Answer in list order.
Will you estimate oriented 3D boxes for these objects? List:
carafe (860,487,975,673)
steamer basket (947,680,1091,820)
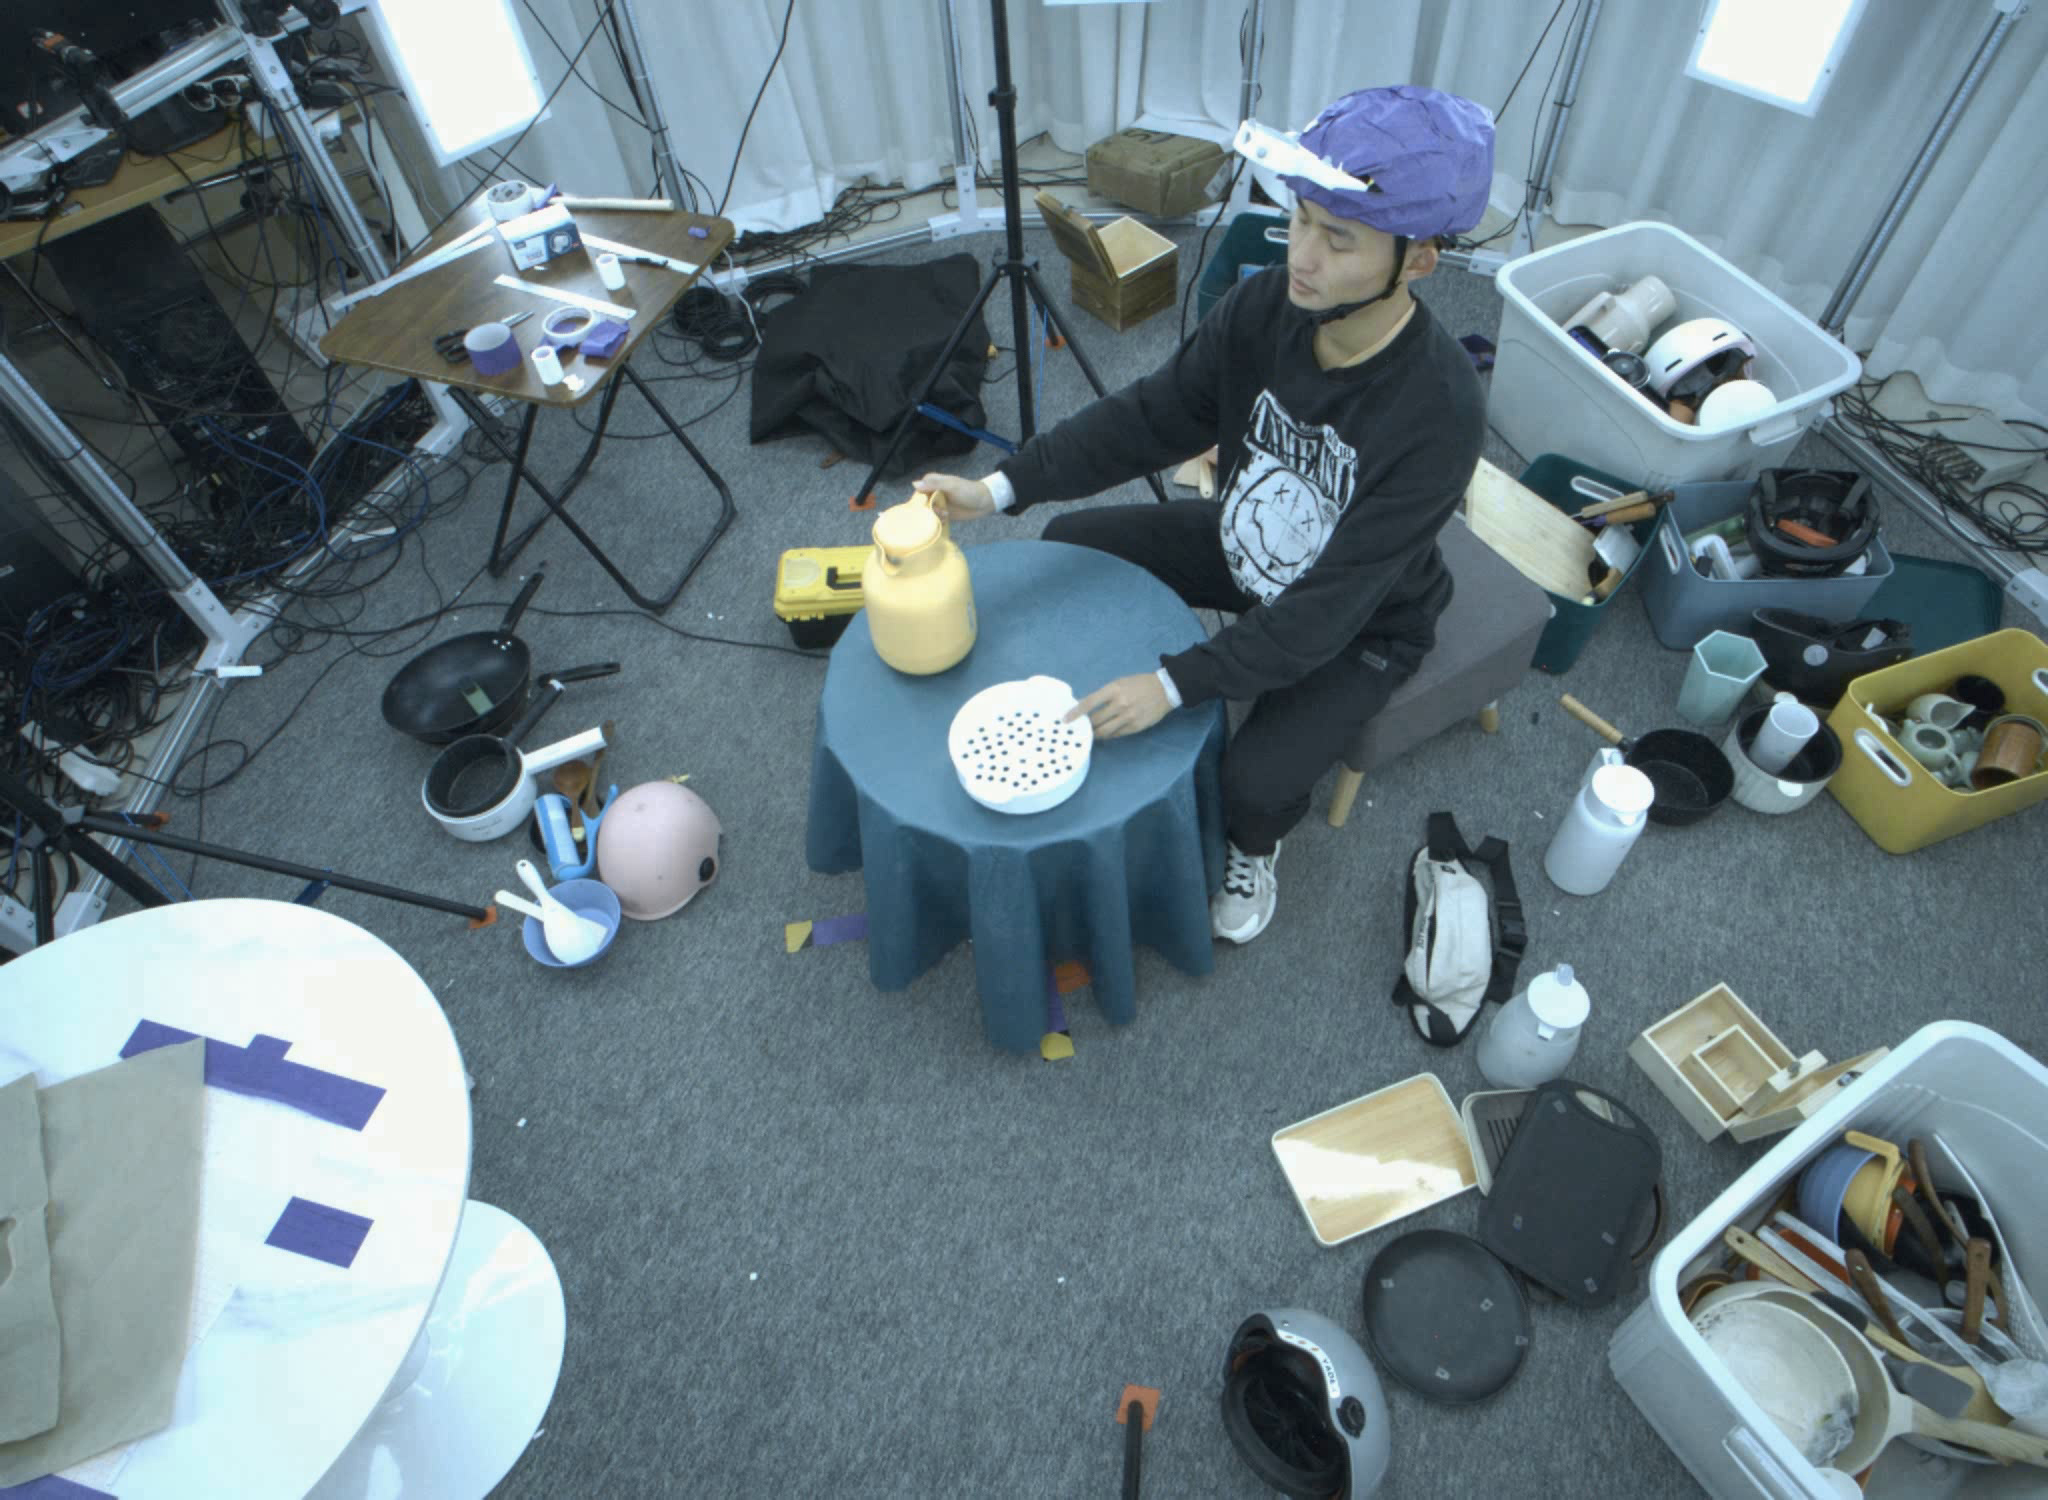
[{"bbox_3d":[-0.153,-0.258,1.810,0.162,0.263,0.202,15,58,11],"label":"carafe"},{"bbox_3d":[-0.005,0.005,1.742,0.199,0.070,0.231,19,58,16],"label":"steamer basket"}]
